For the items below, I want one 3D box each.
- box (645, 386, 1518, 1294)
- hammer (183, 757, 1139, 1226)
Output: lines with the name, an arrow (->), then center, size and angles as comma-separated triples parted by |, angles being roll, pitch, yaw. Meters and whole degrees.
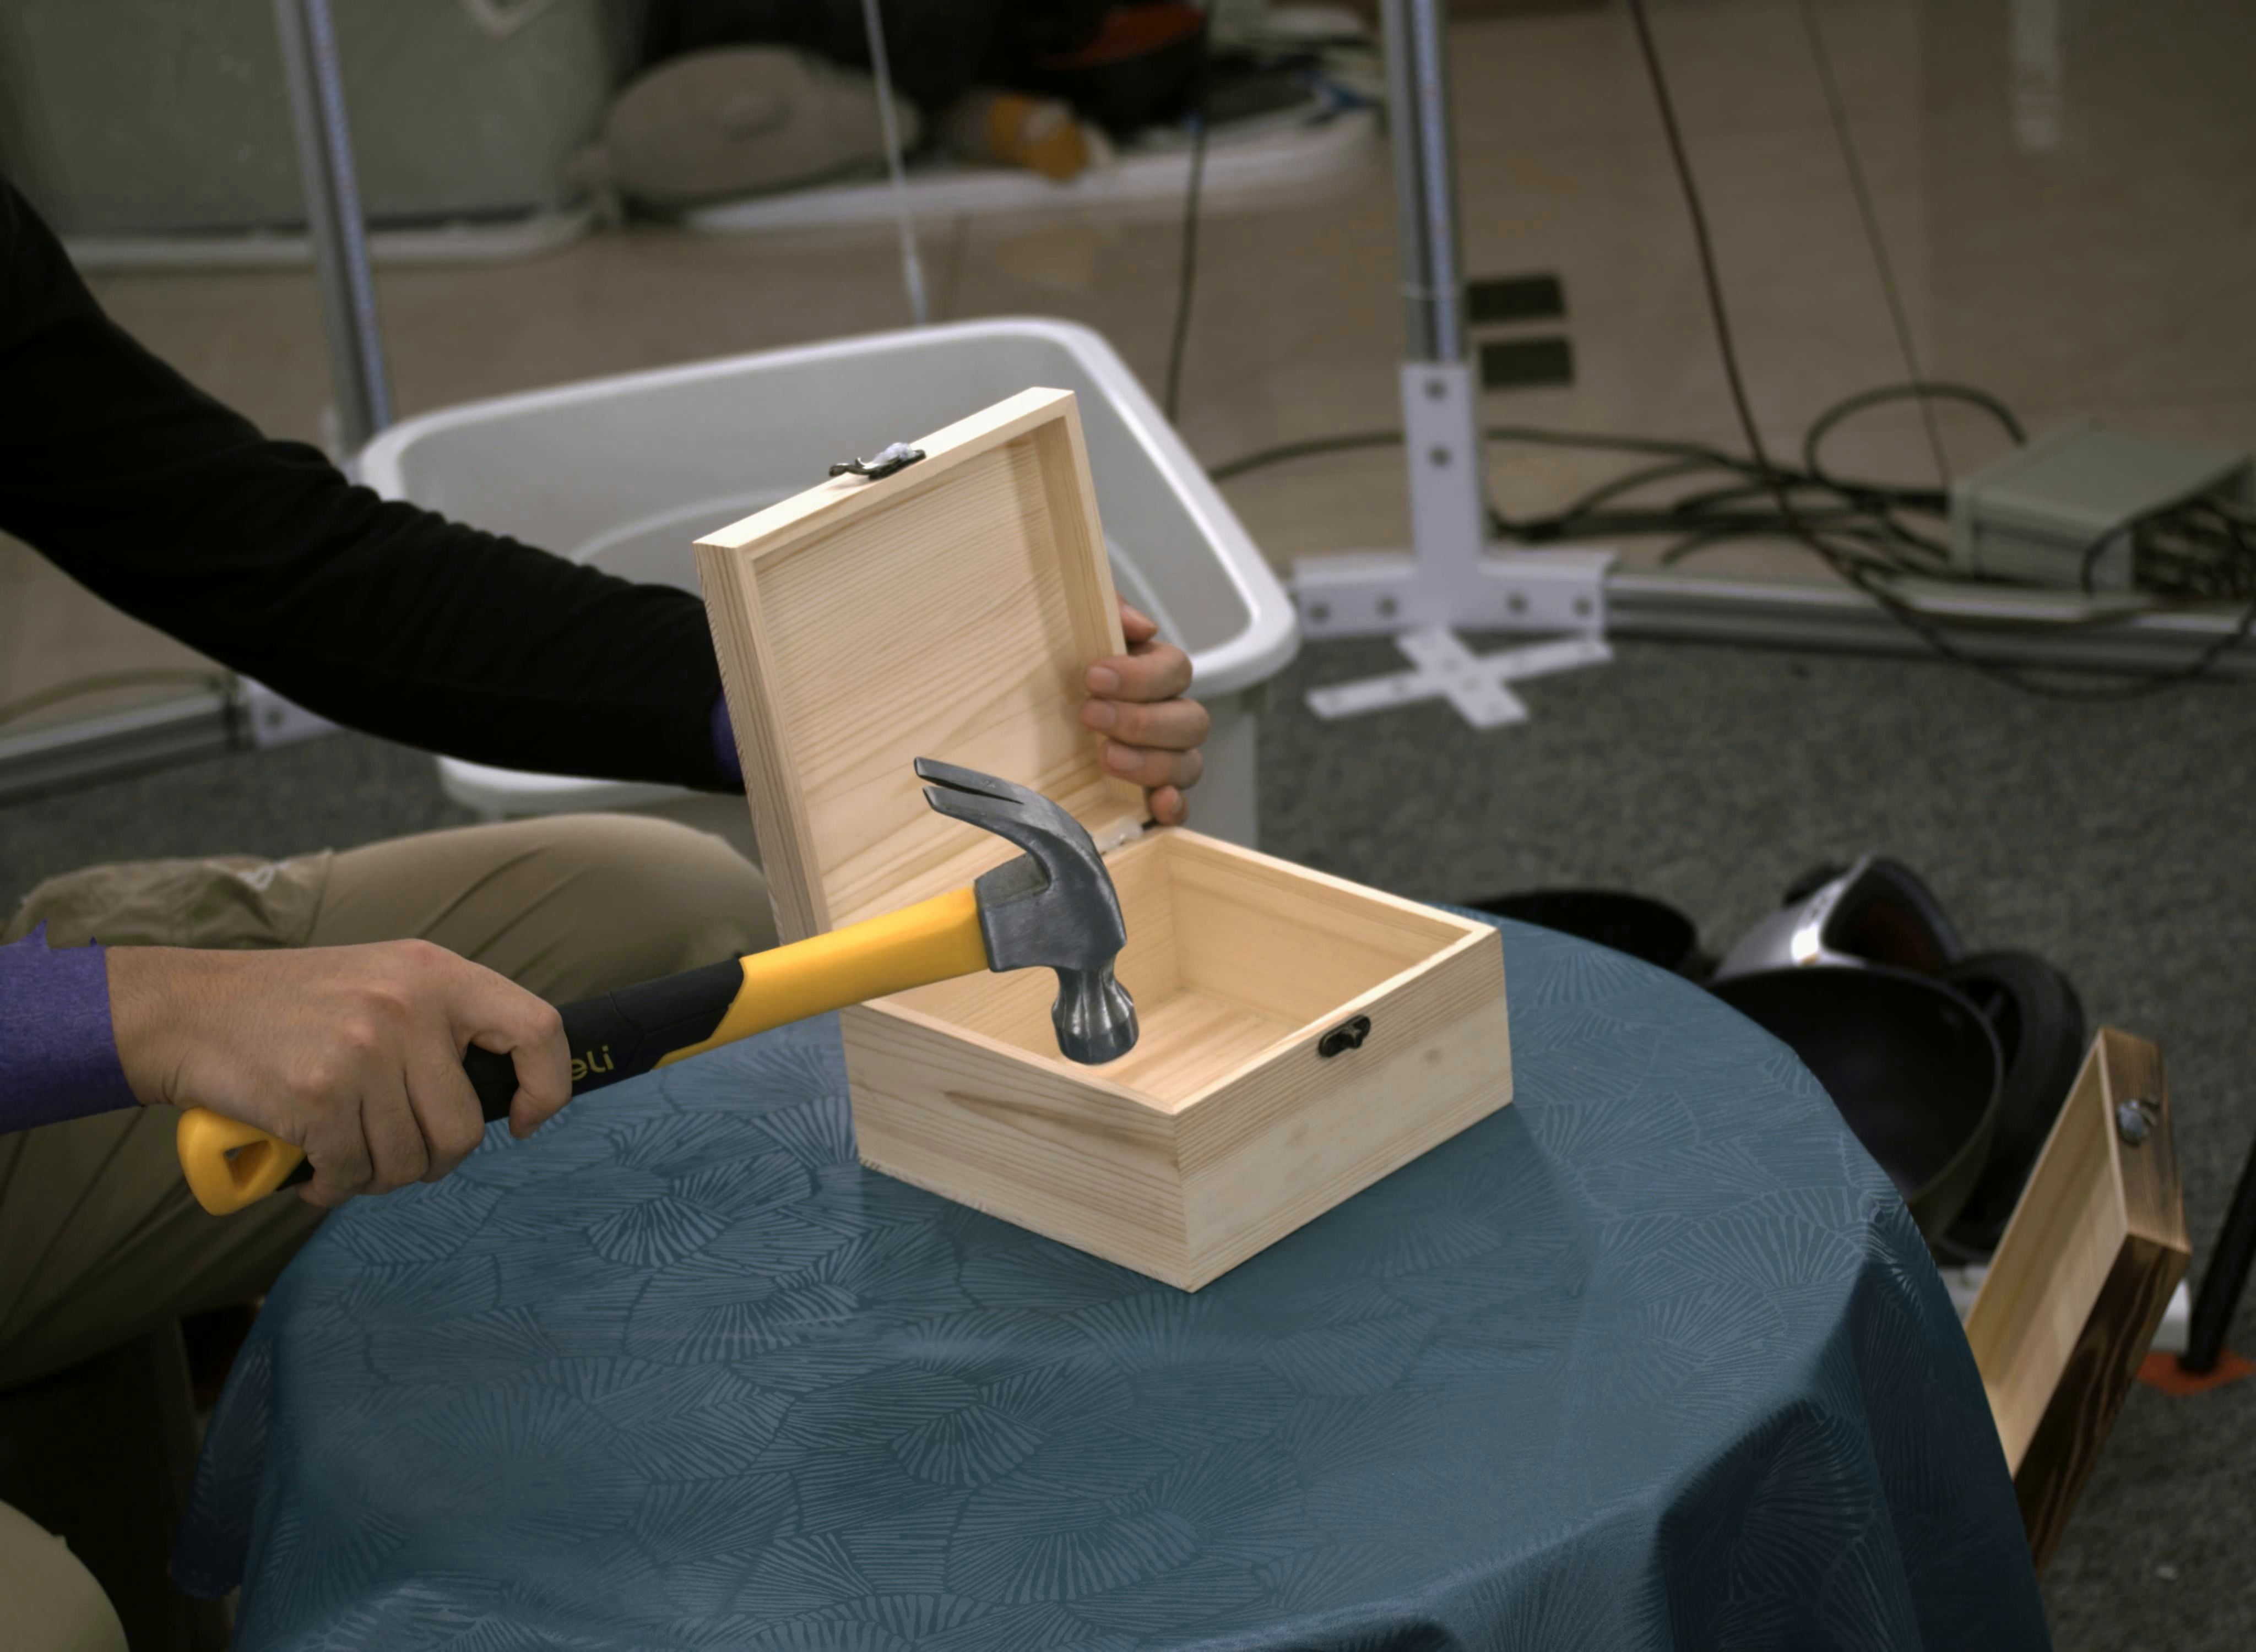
box -> -0.013, -0.002, 2.154 | 0.263, 0.257, 0.180 | 19, 37, 41
hammer -> -0.165, 0.070, 1.982 | 0.337, 0.134, 0.032 | -18, 36, -8
